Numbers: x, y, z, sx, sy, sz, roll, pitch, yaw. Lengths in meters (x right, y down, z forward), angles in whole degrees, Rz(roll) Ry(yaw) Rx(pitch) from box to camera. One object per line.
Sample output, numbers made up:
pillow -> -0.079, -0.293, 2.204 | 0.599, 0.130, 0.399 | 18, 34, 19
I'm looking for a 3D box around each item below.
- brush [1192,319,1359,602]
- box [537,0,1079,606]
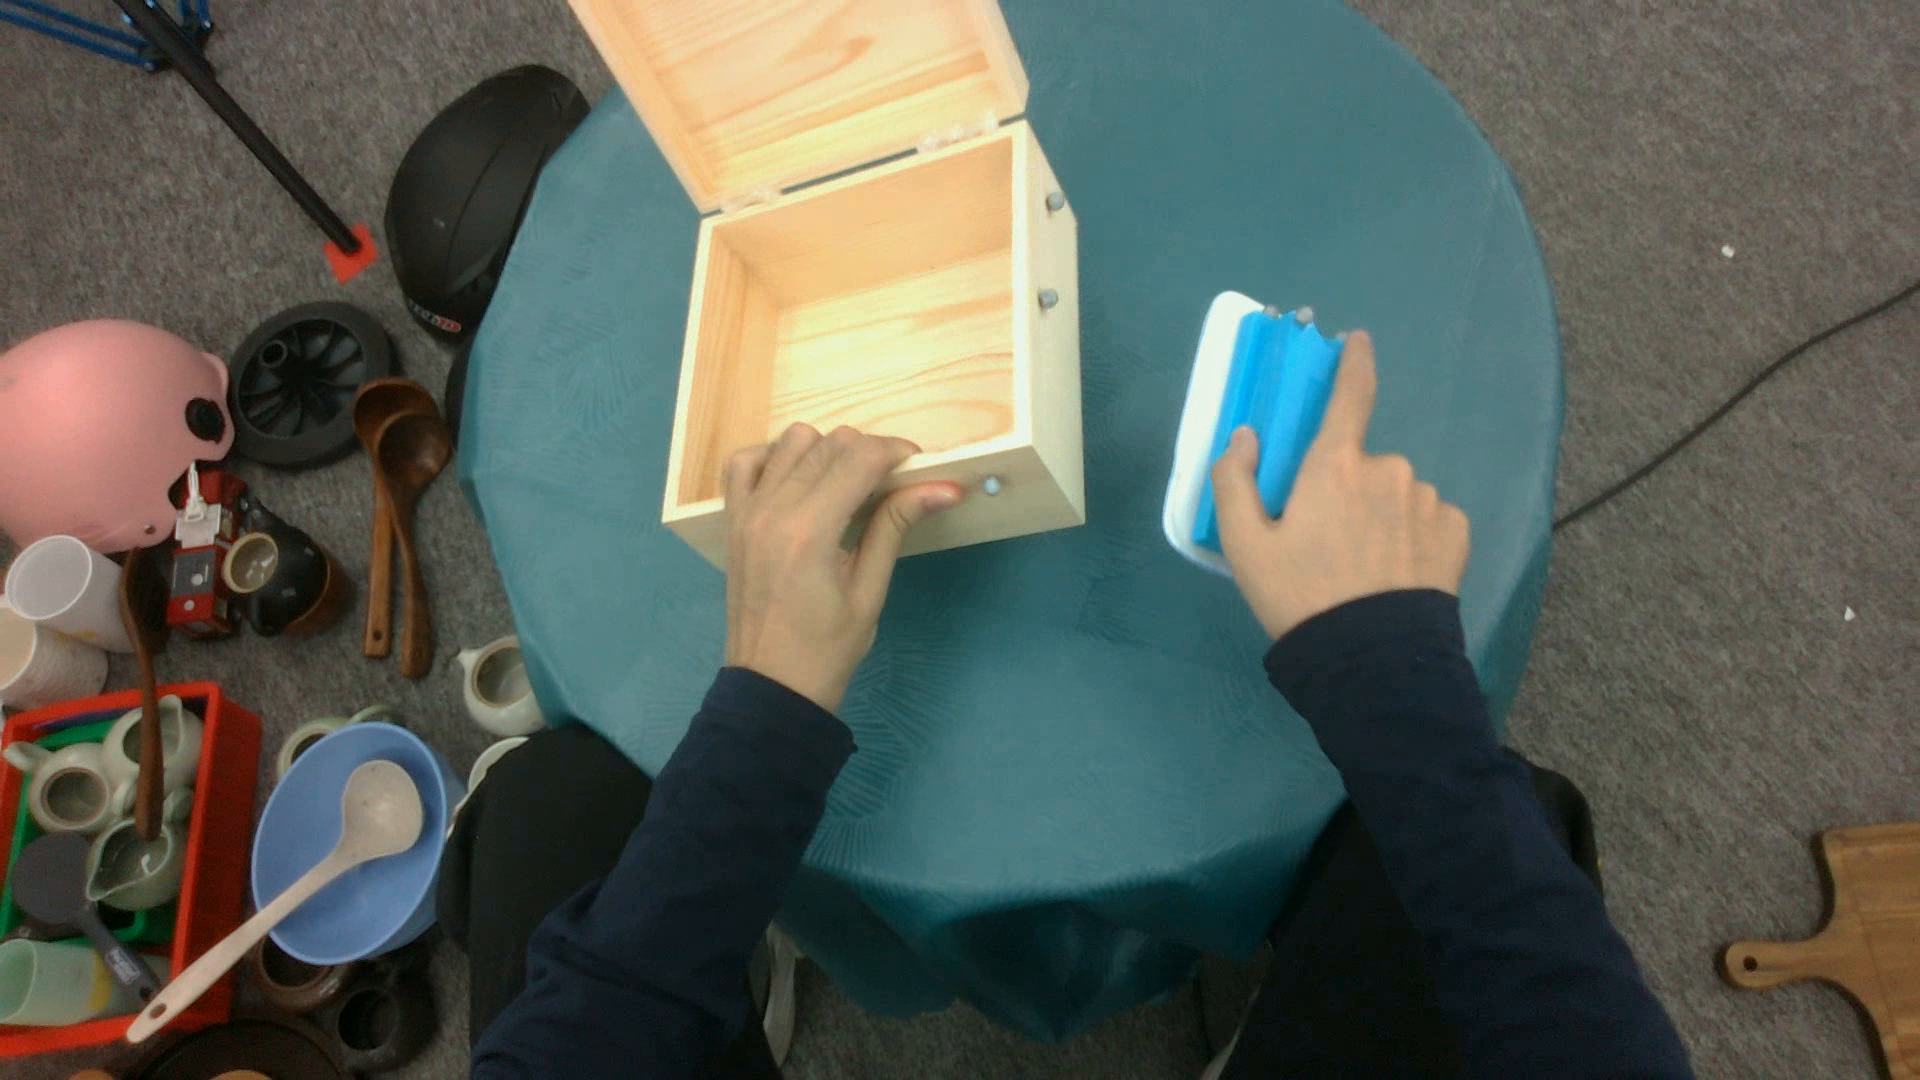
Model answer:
brush -> 0.159, -0.045, 0.662 | 0.084, 0.055, 0.144 | 10, 68, -10
box -> -0.076, -0.145, 0.637 | 0.181, 0.253, 0.266 | -13, 60, 17
